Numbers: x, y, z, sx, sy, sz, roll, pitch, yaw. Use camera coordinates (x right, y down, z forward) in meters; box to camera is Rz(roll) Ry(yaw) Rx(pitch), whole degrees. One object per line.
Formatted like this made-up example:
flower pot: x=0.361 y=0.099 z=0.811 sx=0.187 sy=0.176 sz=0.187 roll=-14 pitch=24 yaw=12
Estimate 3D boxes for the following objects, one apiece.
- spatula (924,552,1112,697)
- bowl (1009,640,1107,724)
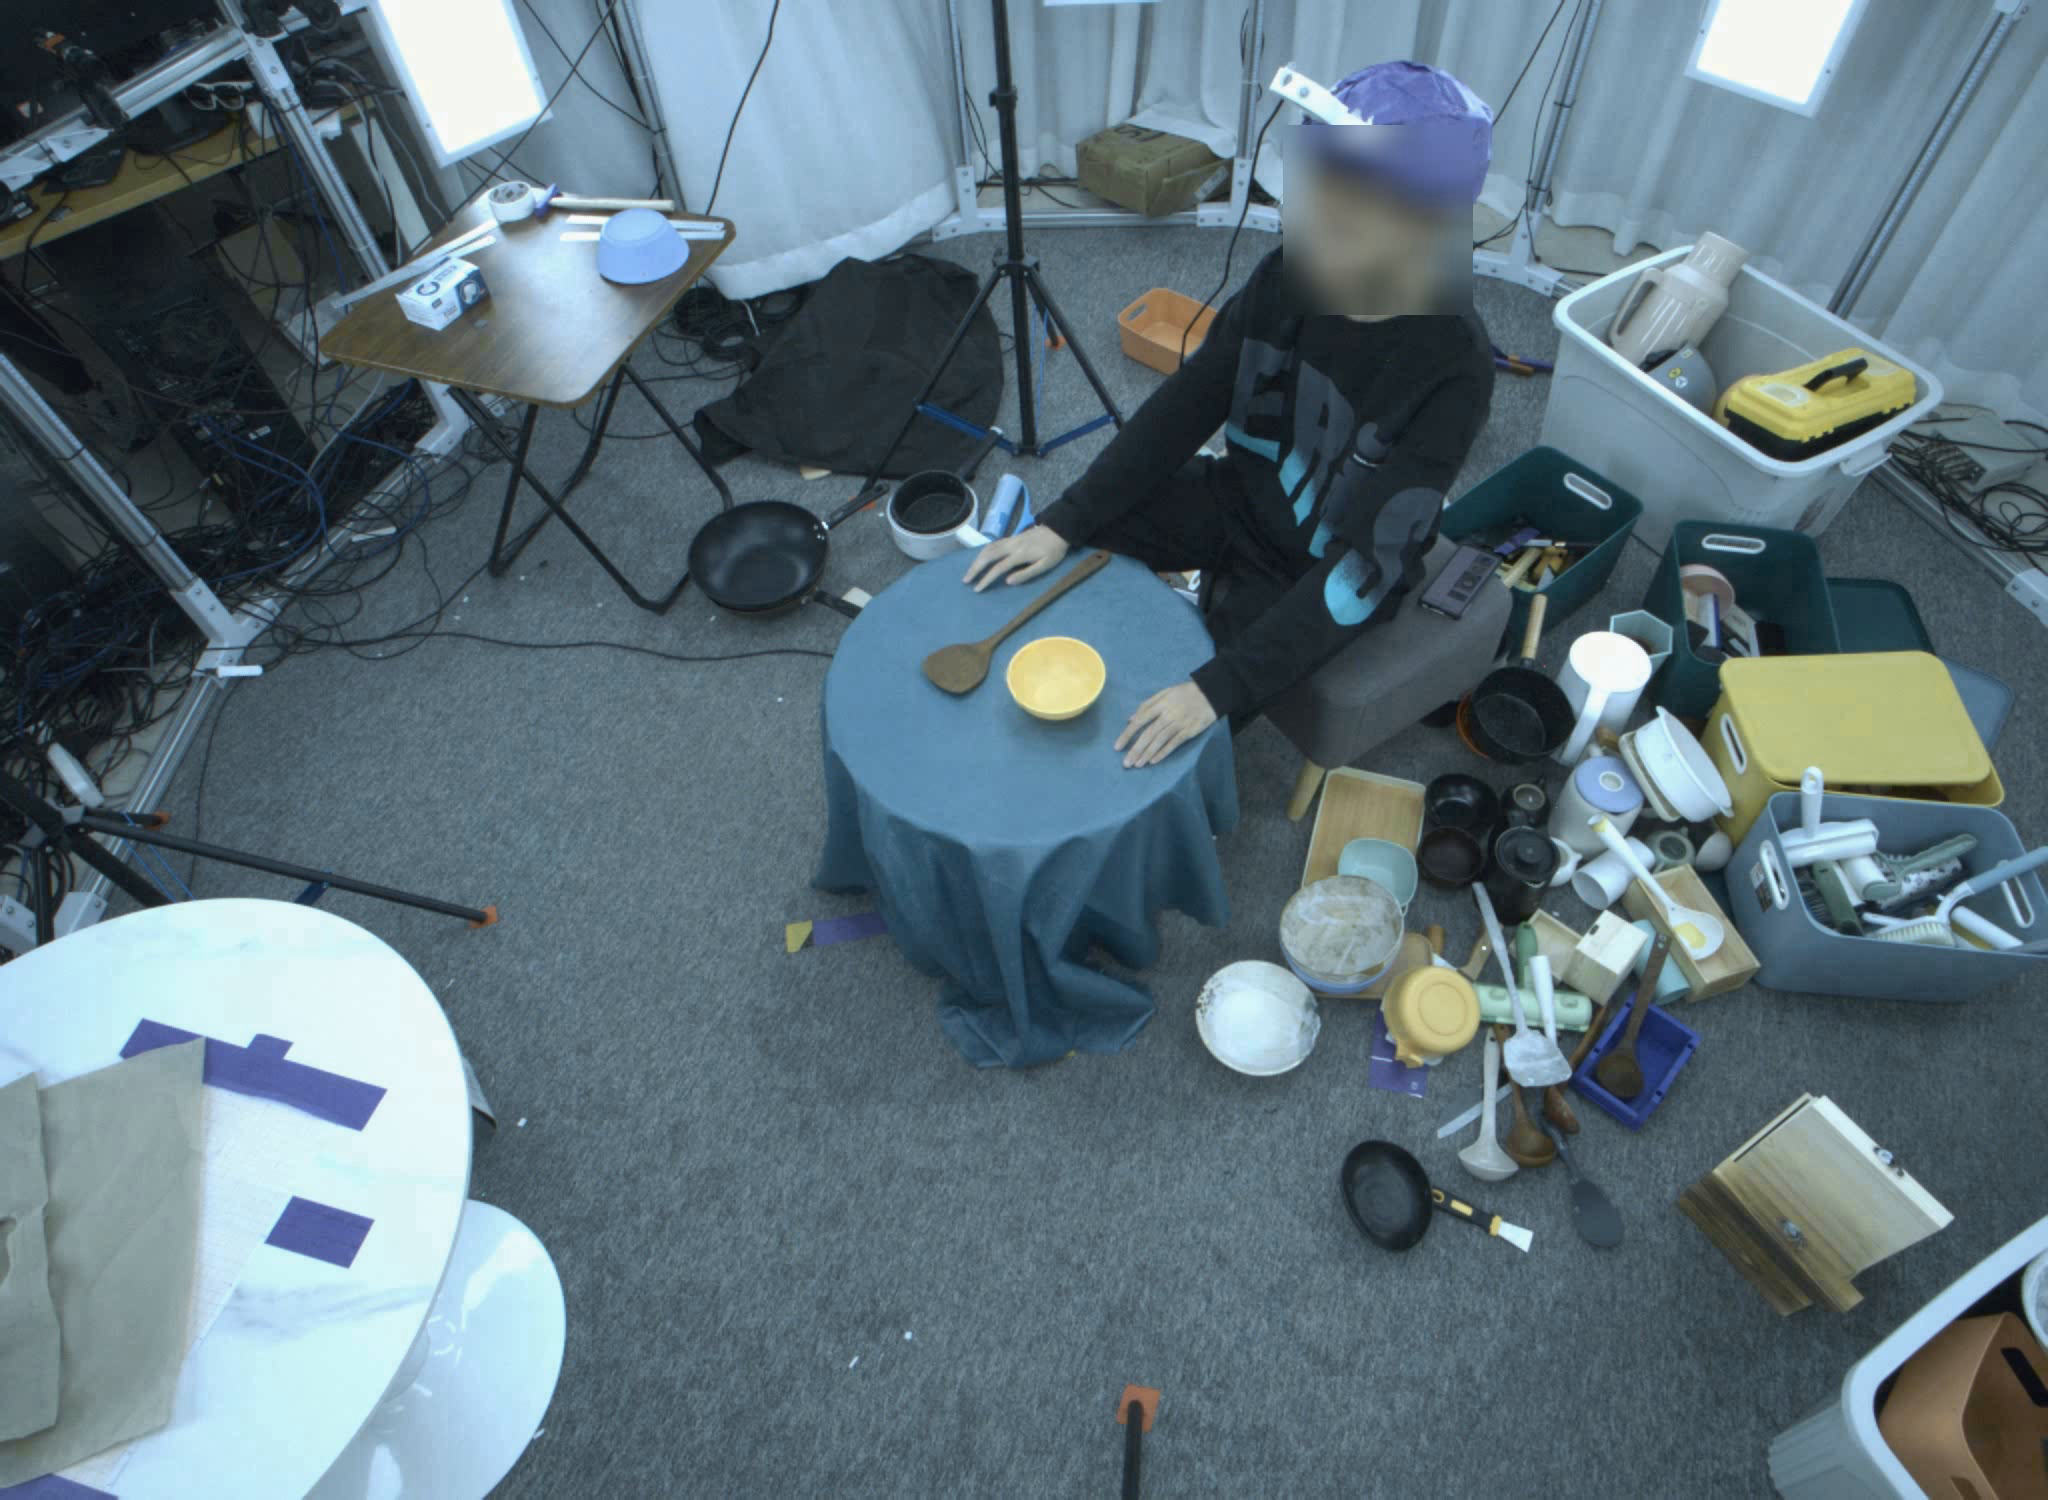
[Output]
spatula: x=0.004 y=-0.209 z=1.936 sx=0.094 sy=0.016 sz=0.388 roll=38 pitch=64 yaw=24
bowl: x=0.050 y=-0.090 z=1.826 sx=0.145 sy=0.060 sz=0.144 roll=1 pitch=56 yaw=0
